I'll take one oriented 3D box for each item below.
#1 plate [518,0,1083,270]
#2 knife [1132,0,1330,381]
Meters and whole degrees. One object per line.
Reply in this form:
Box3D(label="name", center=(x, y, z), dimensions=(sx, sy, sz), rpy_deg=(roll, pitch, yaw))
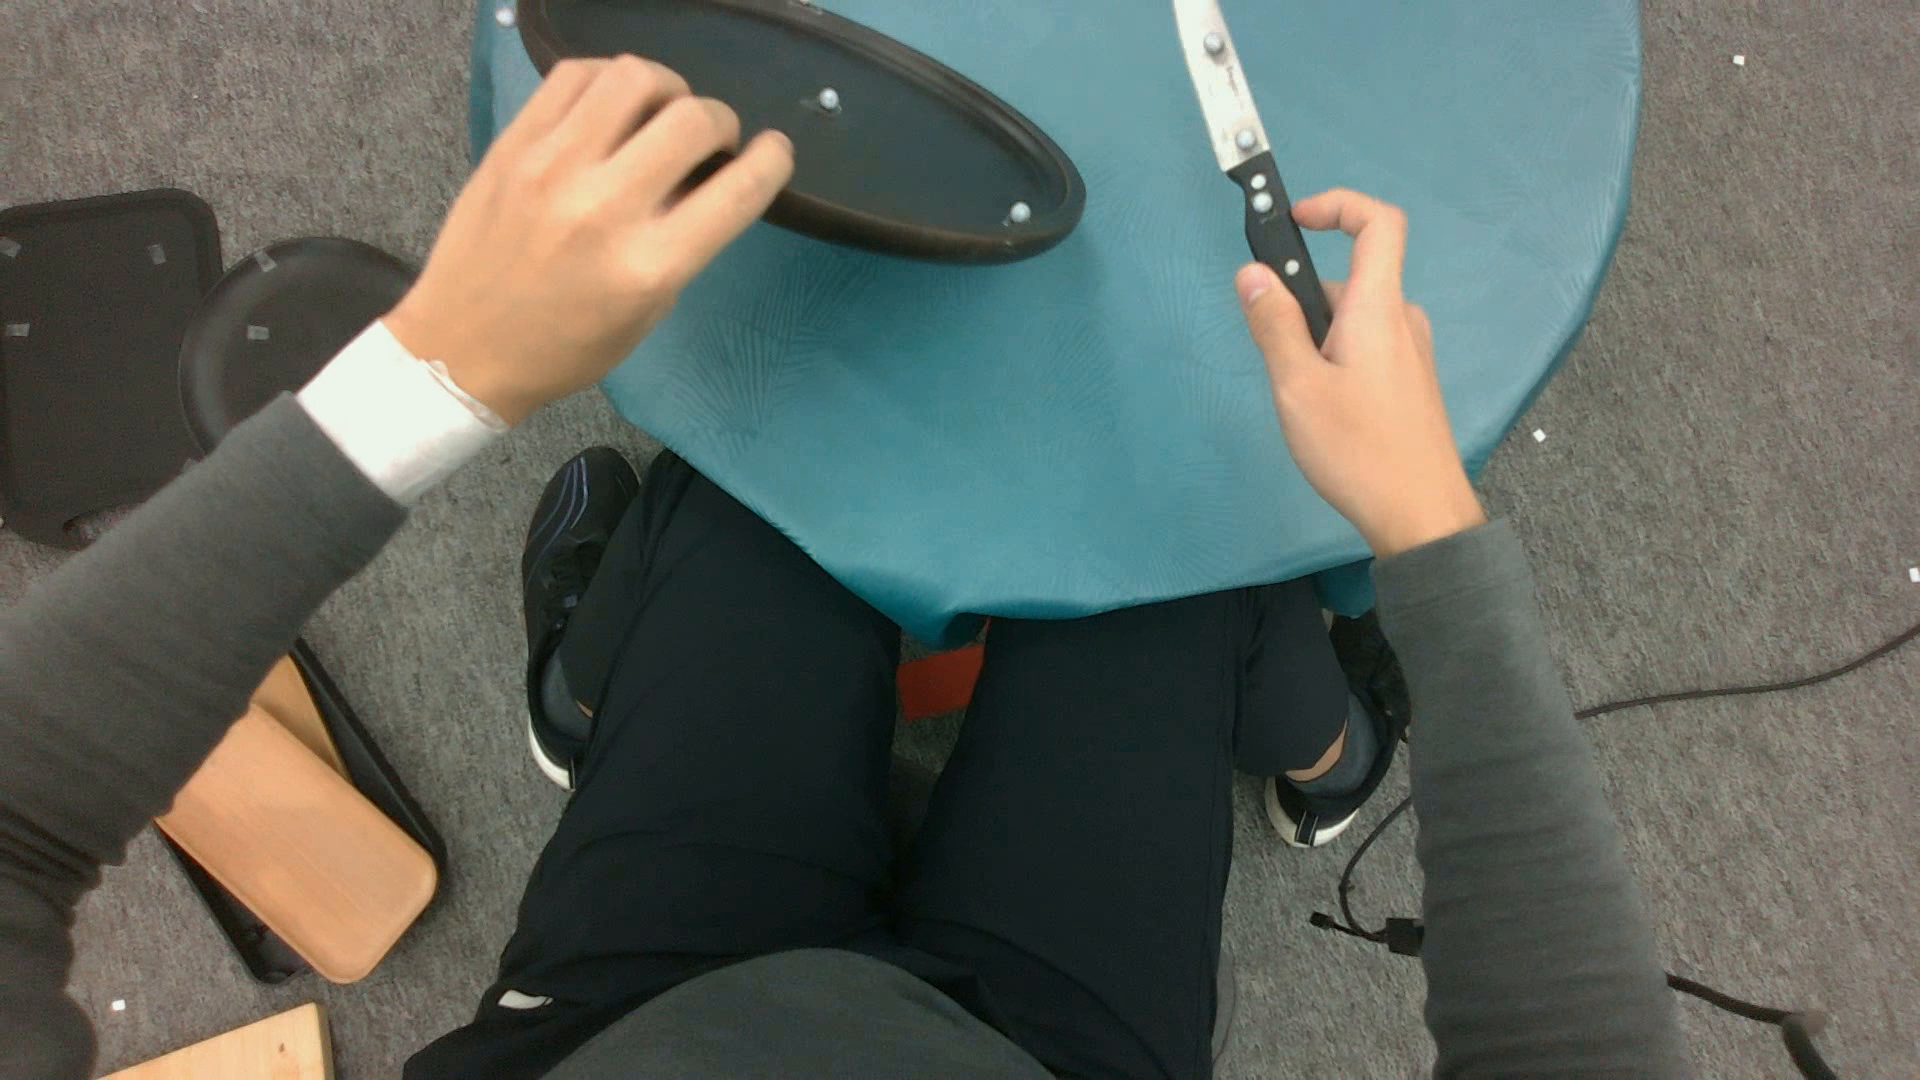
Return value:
Box3D(label="plate", center=(-0.065, -0.190, 0.608), dimensions=(0.255, 0.256, 0.029), rpy_deg=(26, 121, 1))
Box3D(label="knife", center=(0.108, -0.175, 0.583), dimensions=(0.024, 0.016, 0.238), rpy_deg=(-25, 71, 23))
